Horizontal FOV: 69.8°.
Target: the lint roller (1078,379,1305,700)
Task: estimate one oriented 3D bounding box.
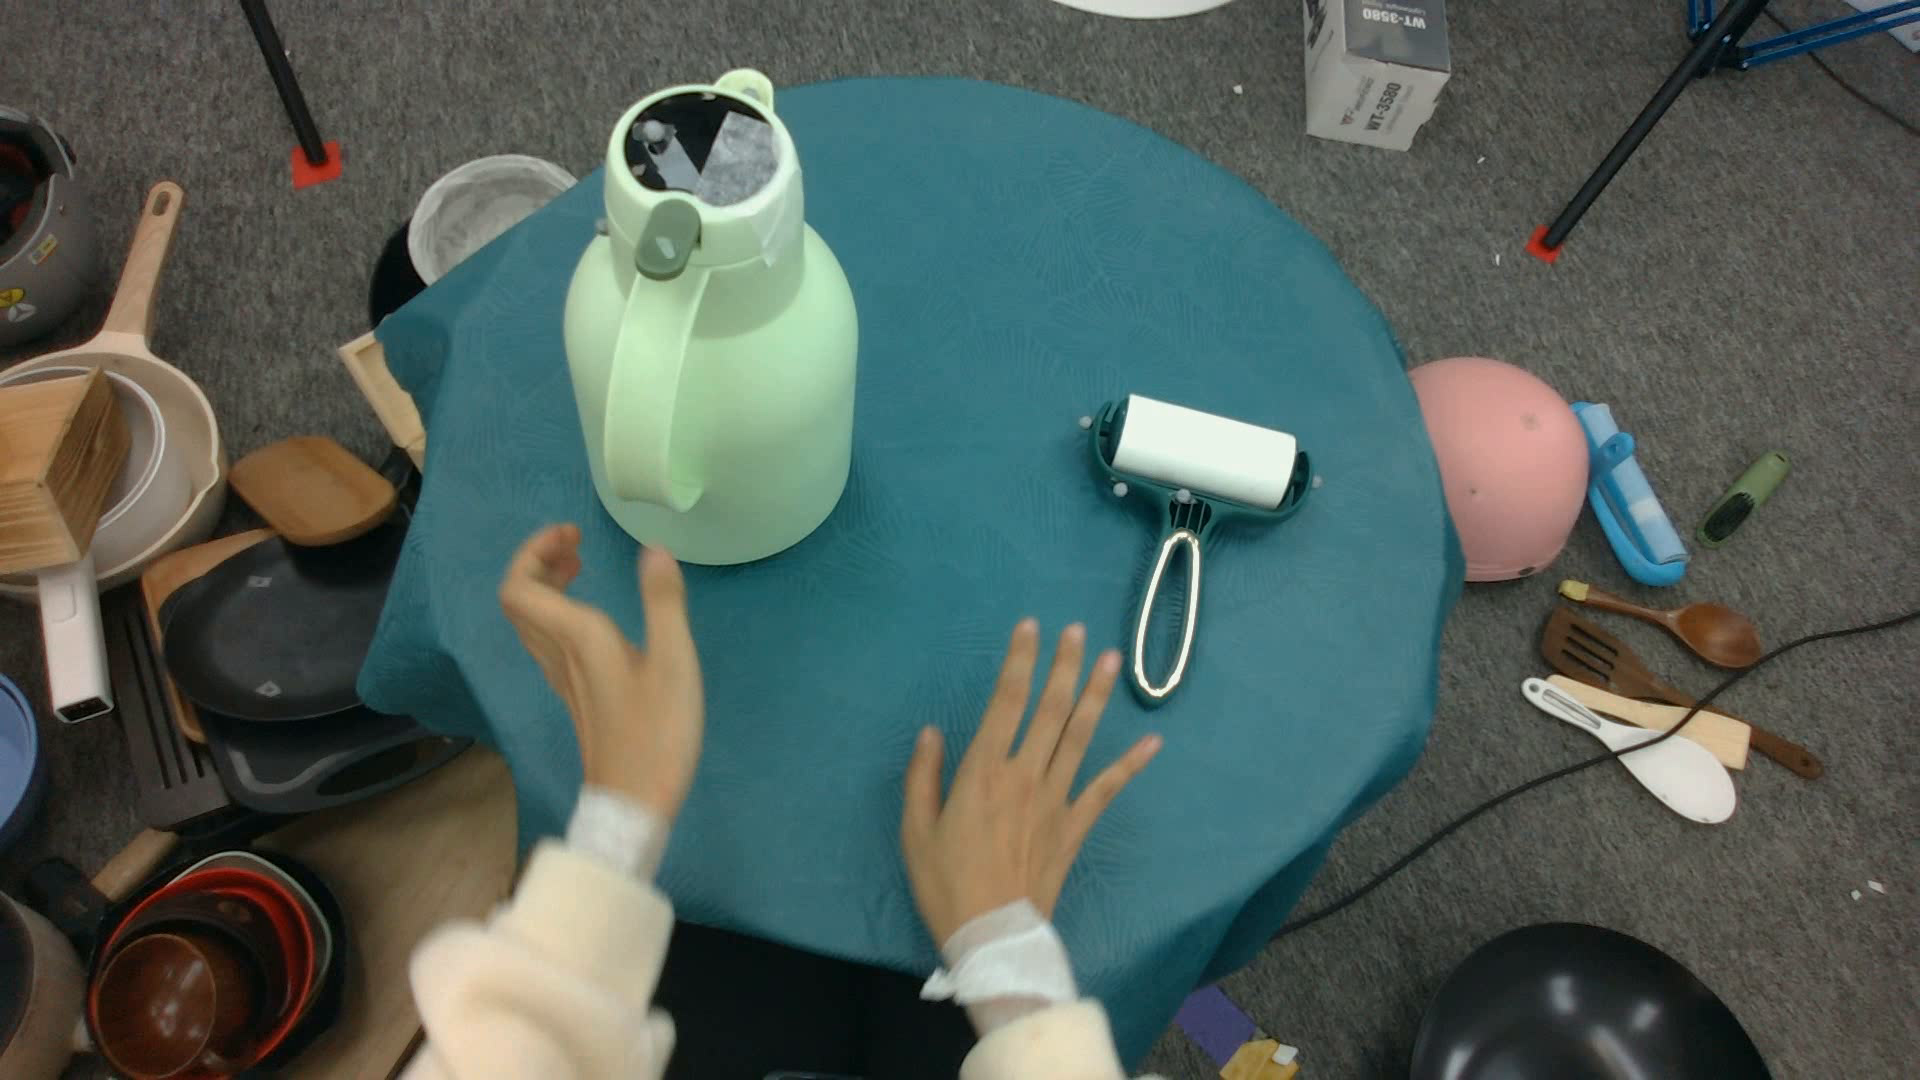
[{"bbox_3d":[0.120,0.000,0.775,0.134,0.048,0.181,15,61,0],"label":"lint roller"}]

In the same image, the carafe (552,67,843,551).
[{"bbox_3d":[-0.131,-0.095,0.673,0.144,0.255,0.187,15,65,-2],"label":"carafe"}]
